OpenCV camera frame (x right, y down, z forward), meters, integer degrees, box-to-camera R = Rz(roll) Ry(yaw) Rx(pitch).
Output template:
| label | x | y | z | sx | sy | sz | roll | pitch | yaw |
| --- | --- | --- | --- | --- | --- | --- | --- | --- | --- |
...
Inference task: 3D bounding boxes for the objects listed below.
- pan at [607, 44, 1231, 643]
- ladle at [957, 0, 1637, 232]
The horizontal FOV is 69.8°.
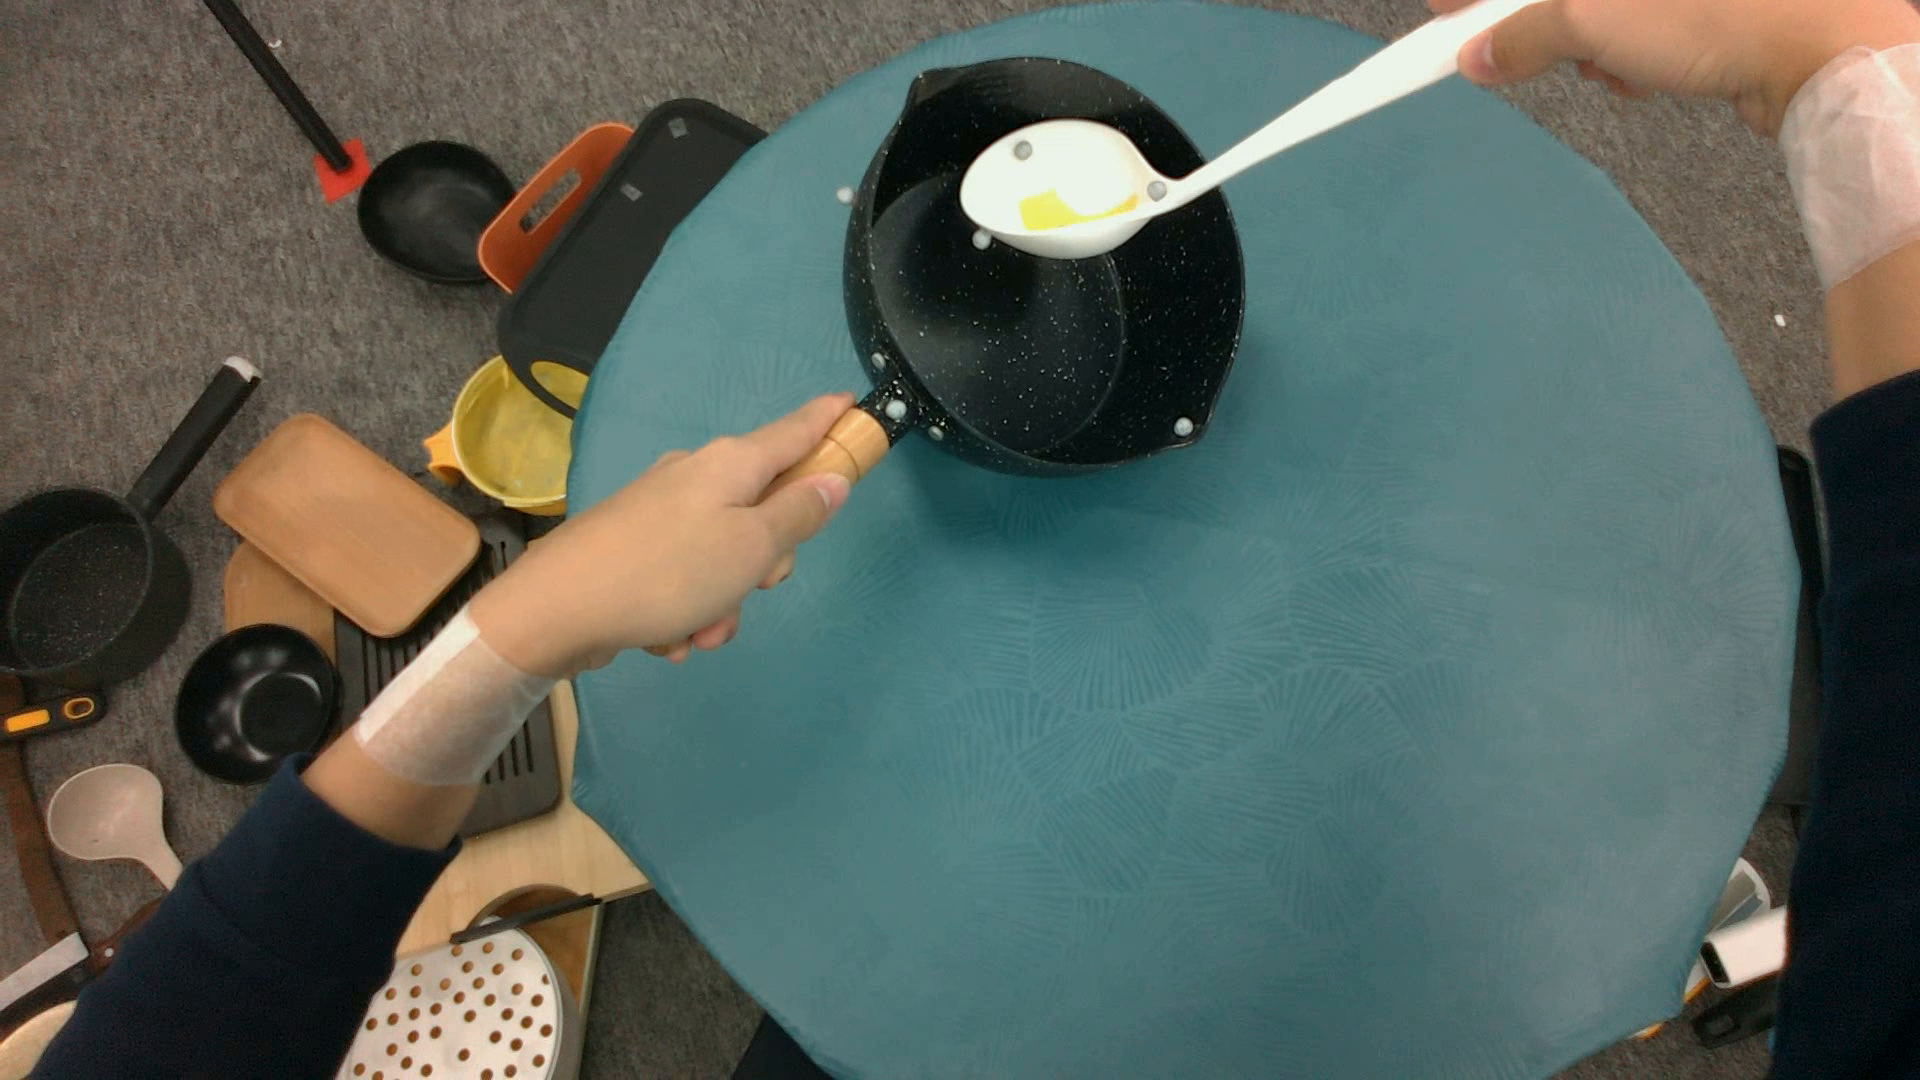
| label | x | y | z | sx | sy | sz | roll | pitch | yaw |
| --- | --- | --- | --- | --- | --- | --- | --- | --- | --- |
| pan | -0.023 | -0.072 | 0.599 | 0.344 | 0.108 | 0.207 | -45 | 102 | -23 |
| ladle | 0.119 | -0.188 | 0.549 | 0.090 | 0.292 | 0.070 | -42 | 109 | -37 |
